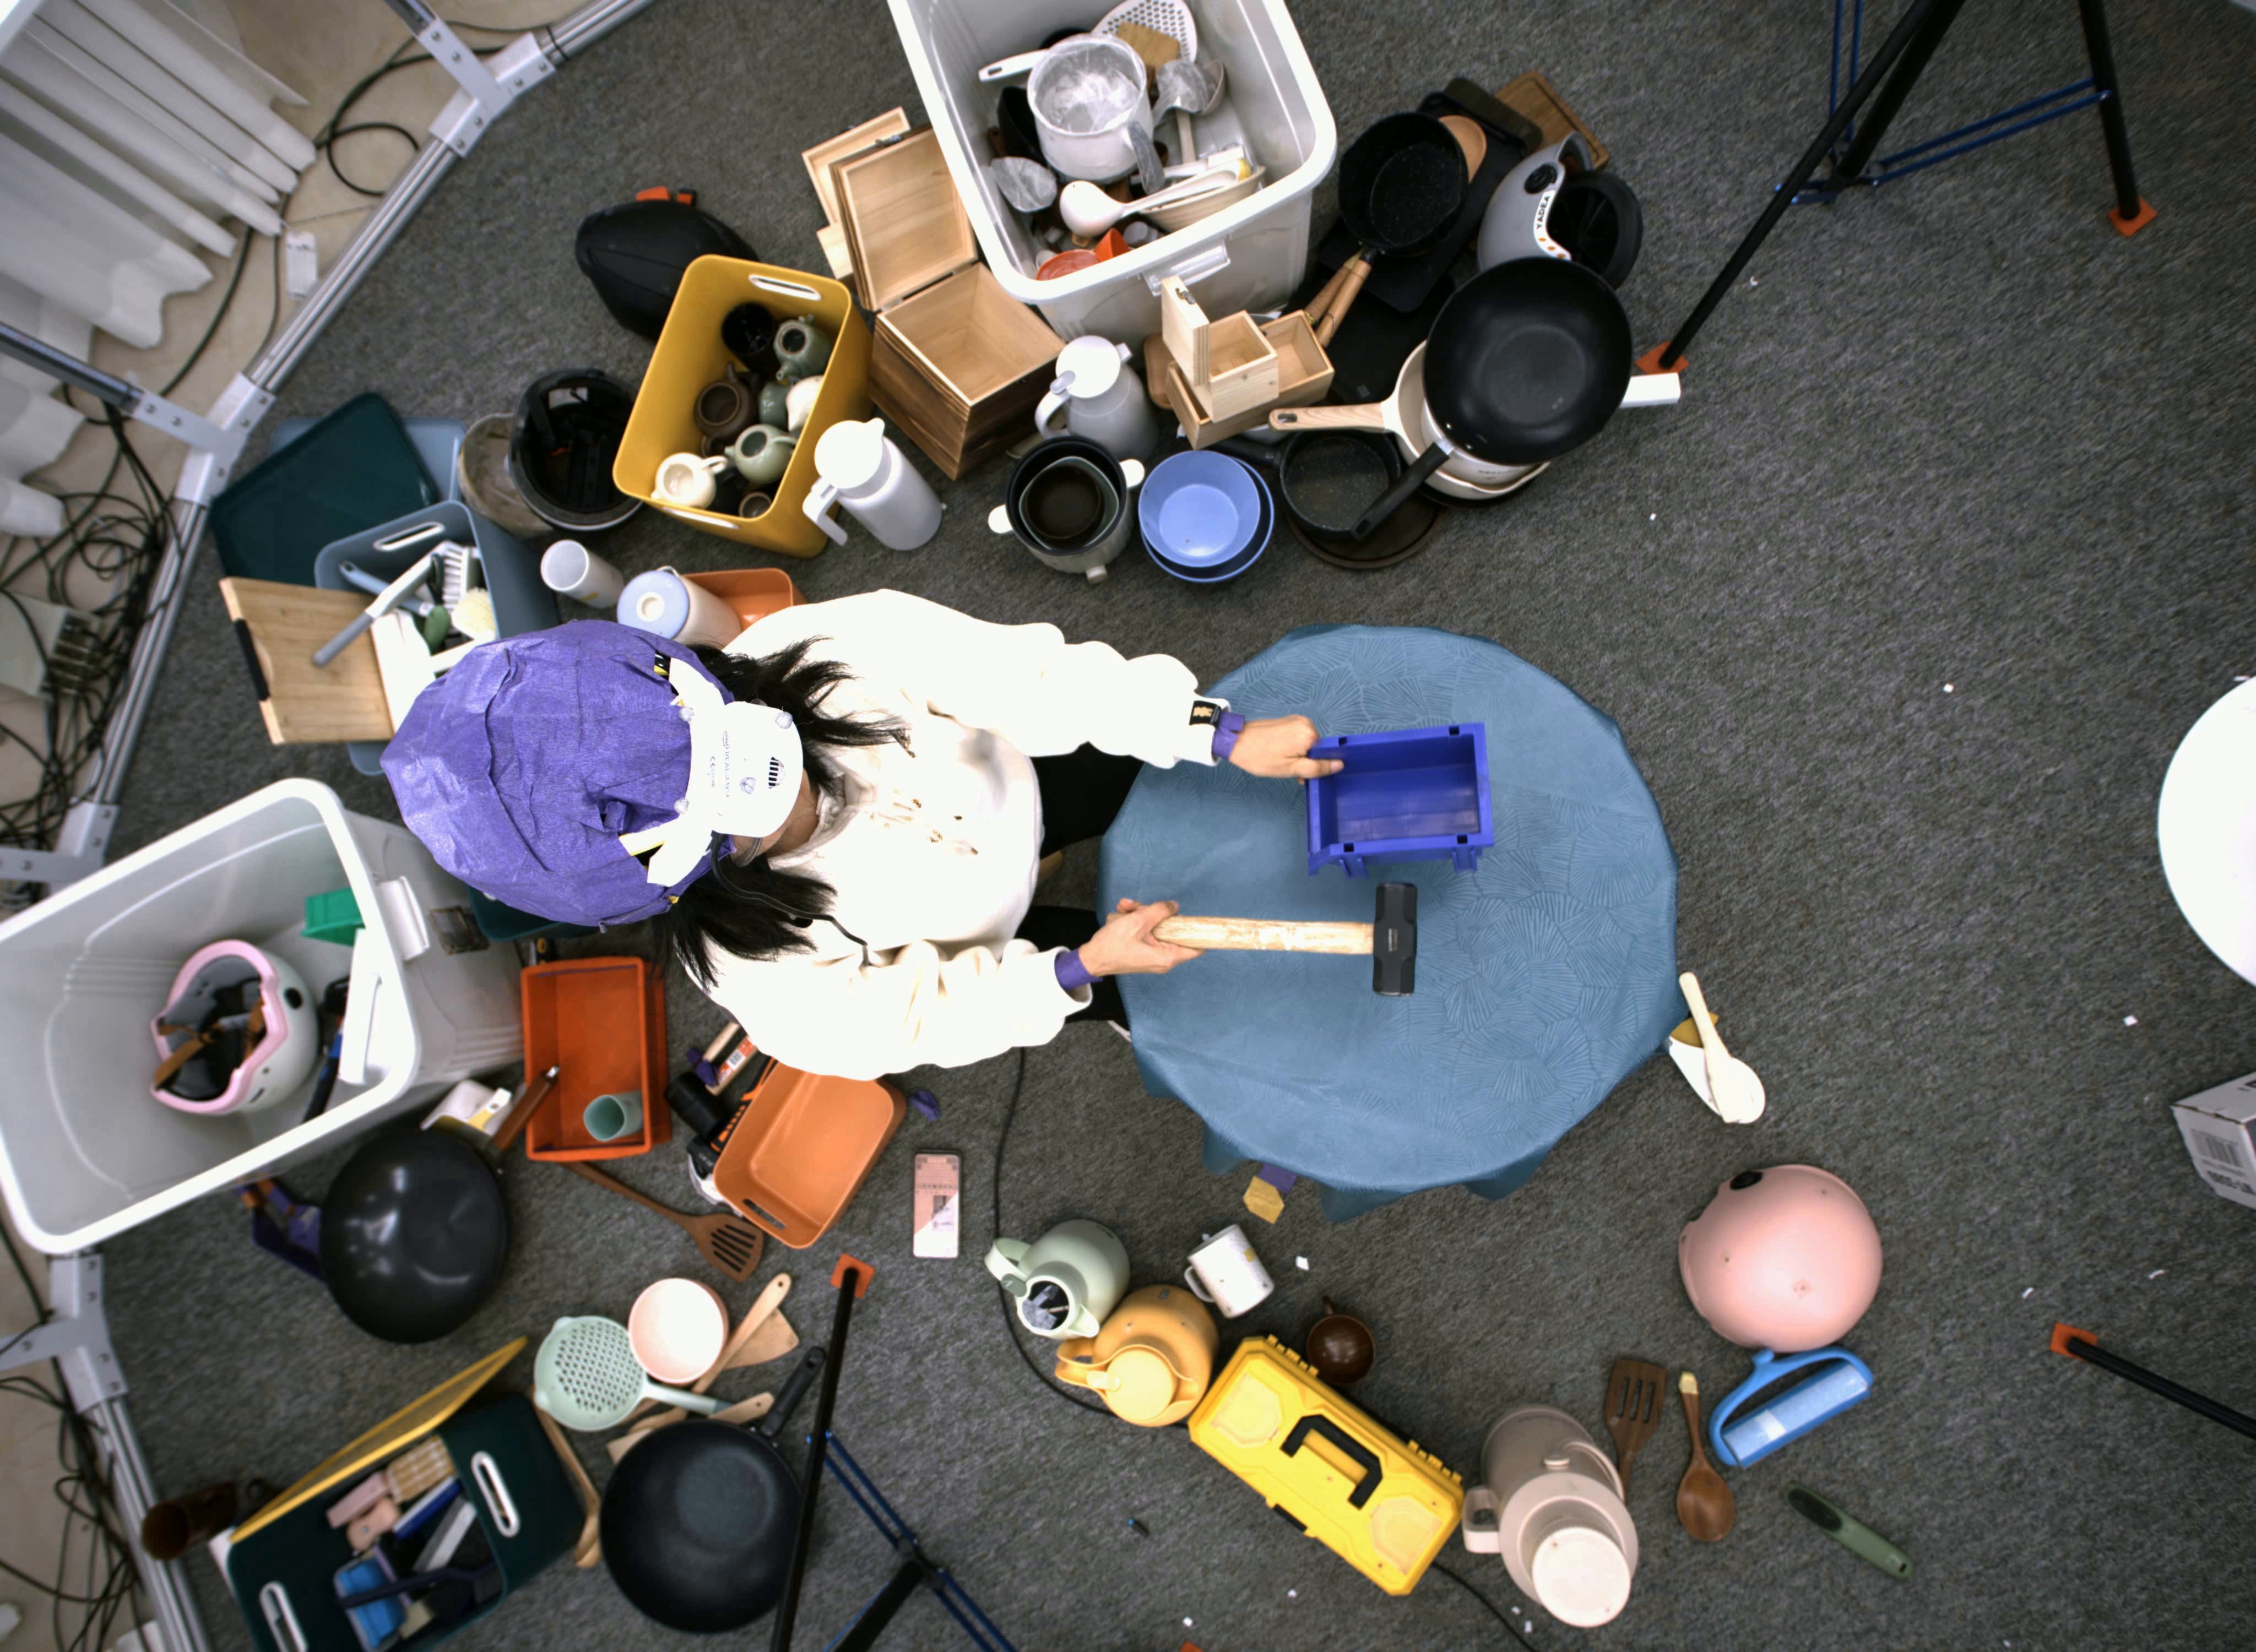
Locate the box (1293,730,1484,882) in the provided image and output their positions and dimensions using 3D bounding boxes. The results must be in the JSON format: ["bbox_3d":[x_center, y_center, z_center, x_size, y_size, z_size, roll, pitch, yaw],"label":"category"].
[{"bbox_3d":[0.247,-0.017,1.327,0.180,0.083,0.122,-3,73,13],"label":"box"}]

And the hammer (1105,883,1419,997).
[{"bbox_3d":[0.126,0.101,1.346,0.306,0.038,0.107,2,89,19],"label":"hammer"}]
